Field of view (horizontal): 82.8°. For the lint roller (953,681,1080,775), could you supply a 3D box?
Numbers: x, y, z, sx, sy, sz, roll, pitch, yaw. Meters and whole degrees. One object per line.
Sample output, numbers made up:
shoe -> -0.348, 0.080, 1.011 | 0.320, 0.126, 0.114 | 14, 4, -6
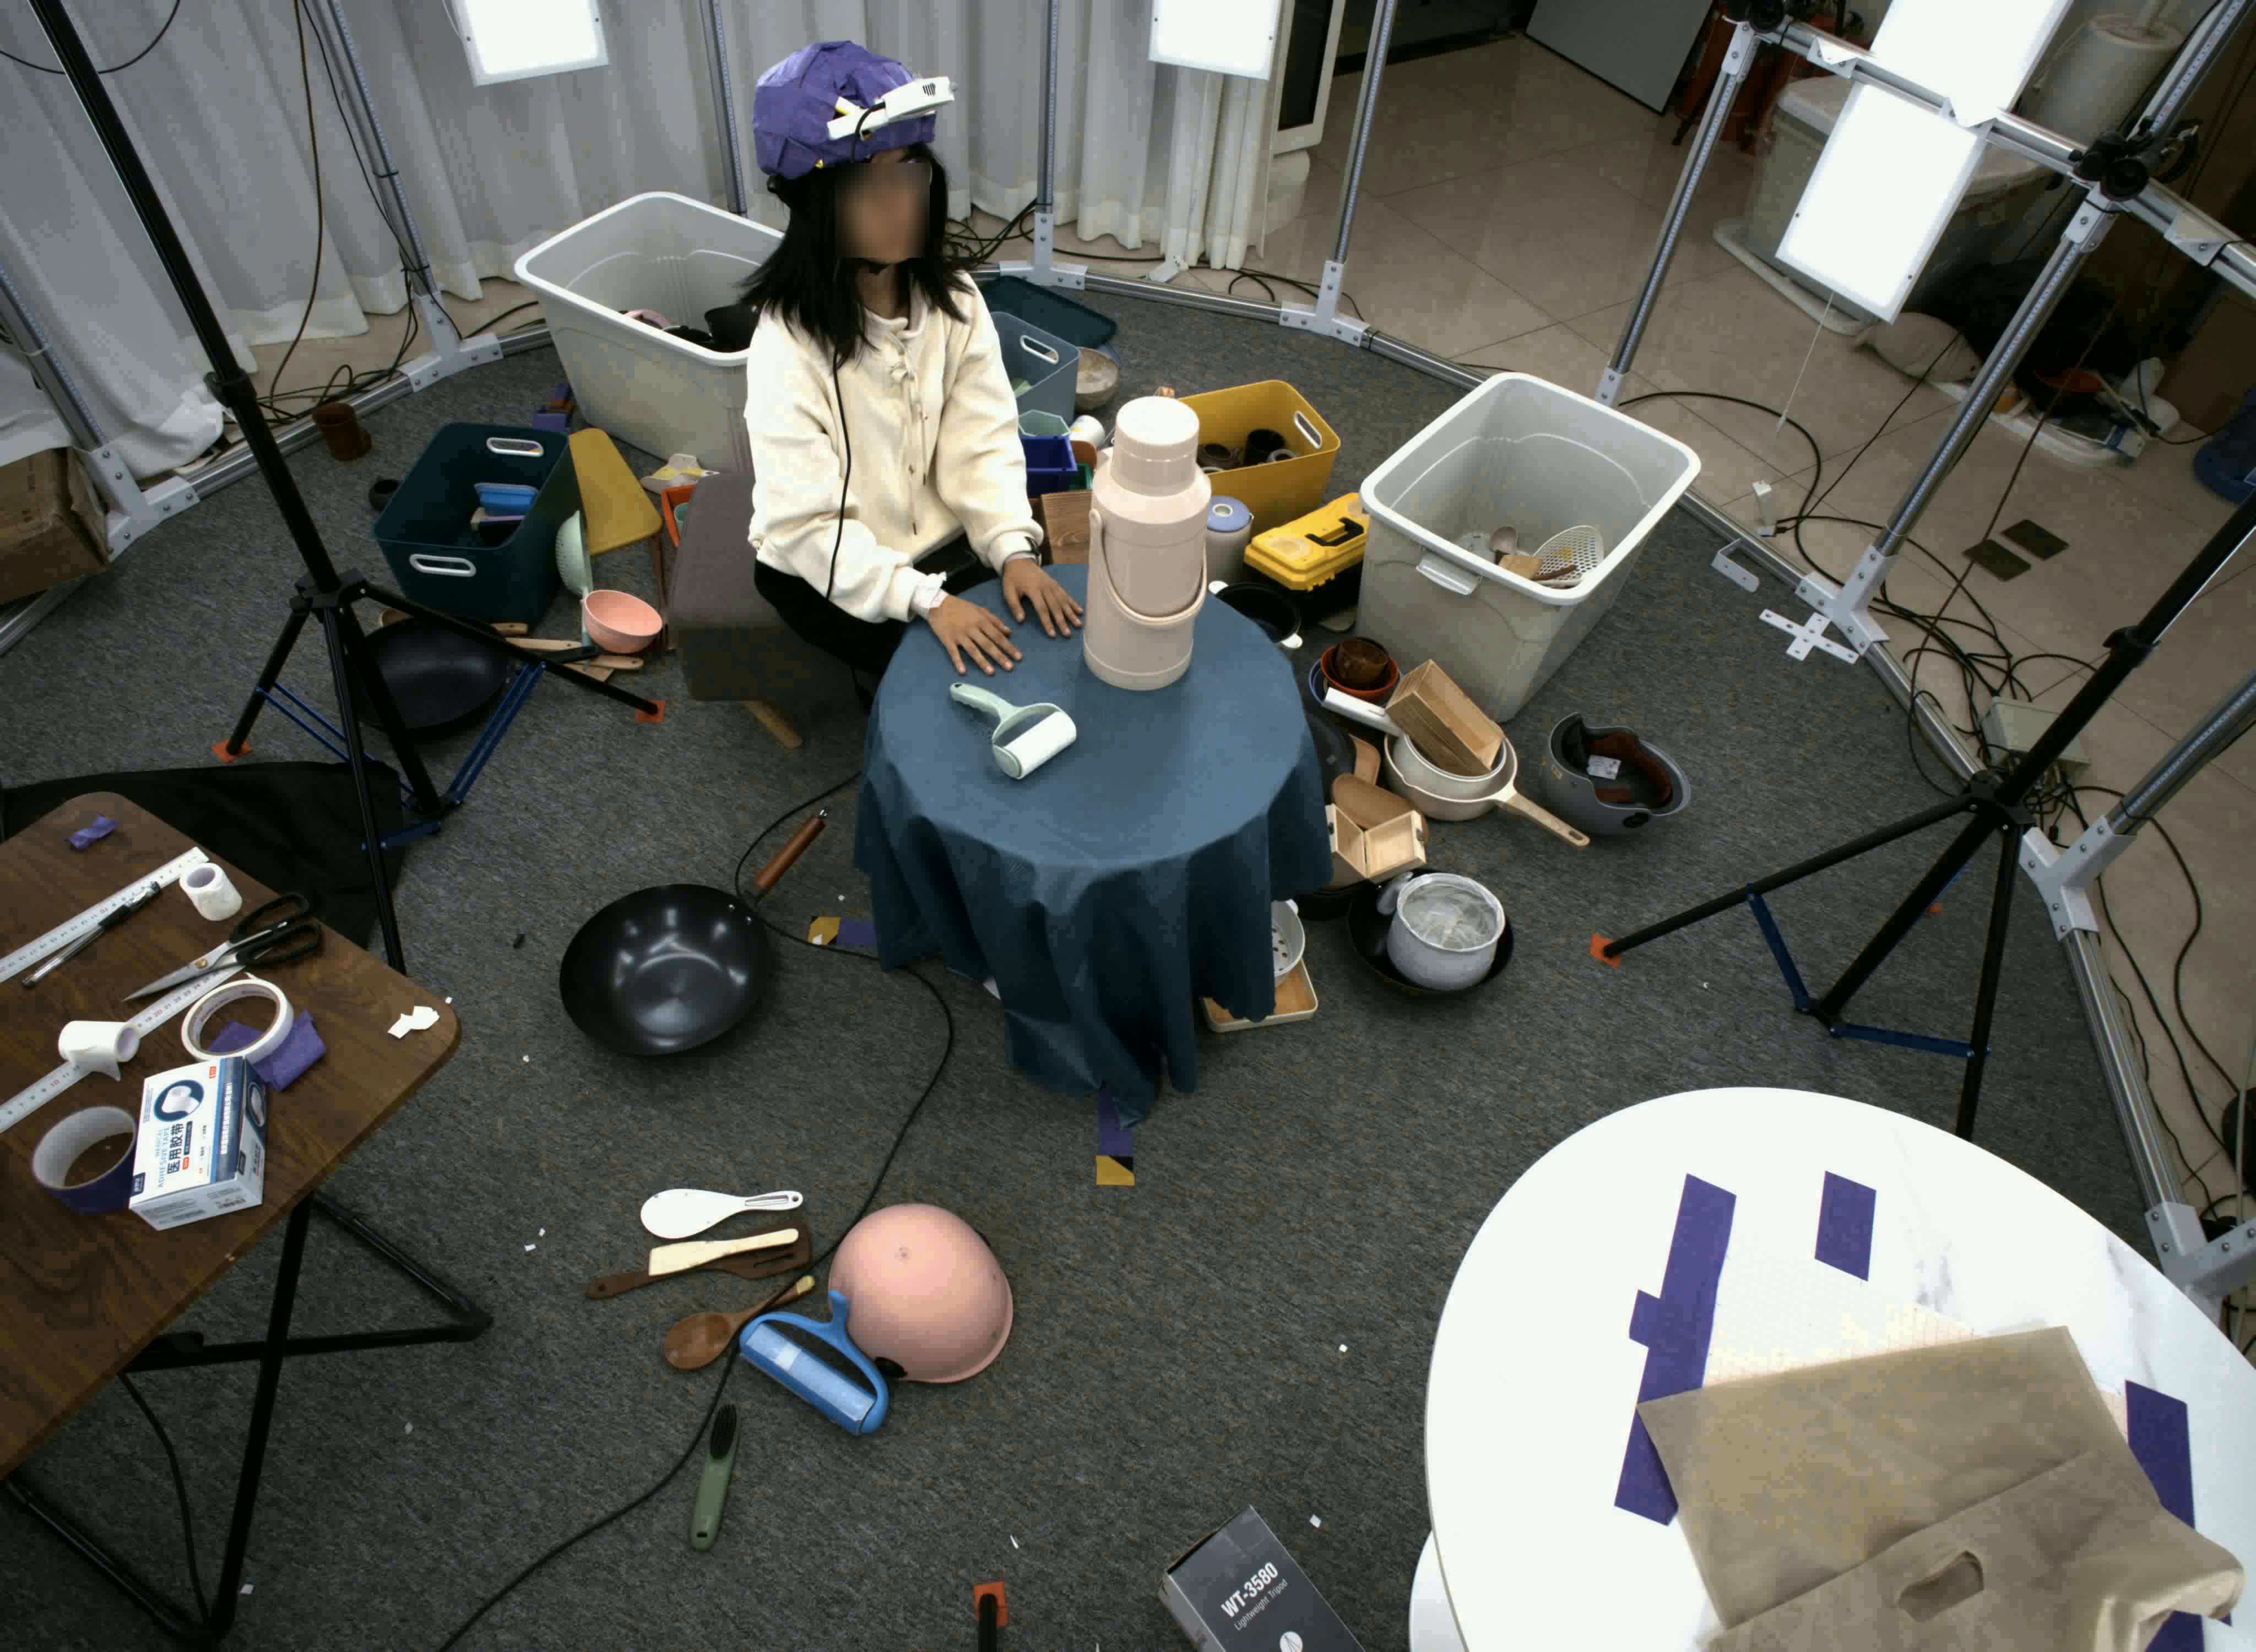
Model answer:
lint roller -> -0.168, -0.156, 1.762 | 0.200, 0.047, 0.118 | 38, 59, 25

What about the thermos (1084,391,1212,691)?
thermos -> 0.019, -0.389, 1.754 | 0.176, 0.396, 0.211 | -23, 55, -22
